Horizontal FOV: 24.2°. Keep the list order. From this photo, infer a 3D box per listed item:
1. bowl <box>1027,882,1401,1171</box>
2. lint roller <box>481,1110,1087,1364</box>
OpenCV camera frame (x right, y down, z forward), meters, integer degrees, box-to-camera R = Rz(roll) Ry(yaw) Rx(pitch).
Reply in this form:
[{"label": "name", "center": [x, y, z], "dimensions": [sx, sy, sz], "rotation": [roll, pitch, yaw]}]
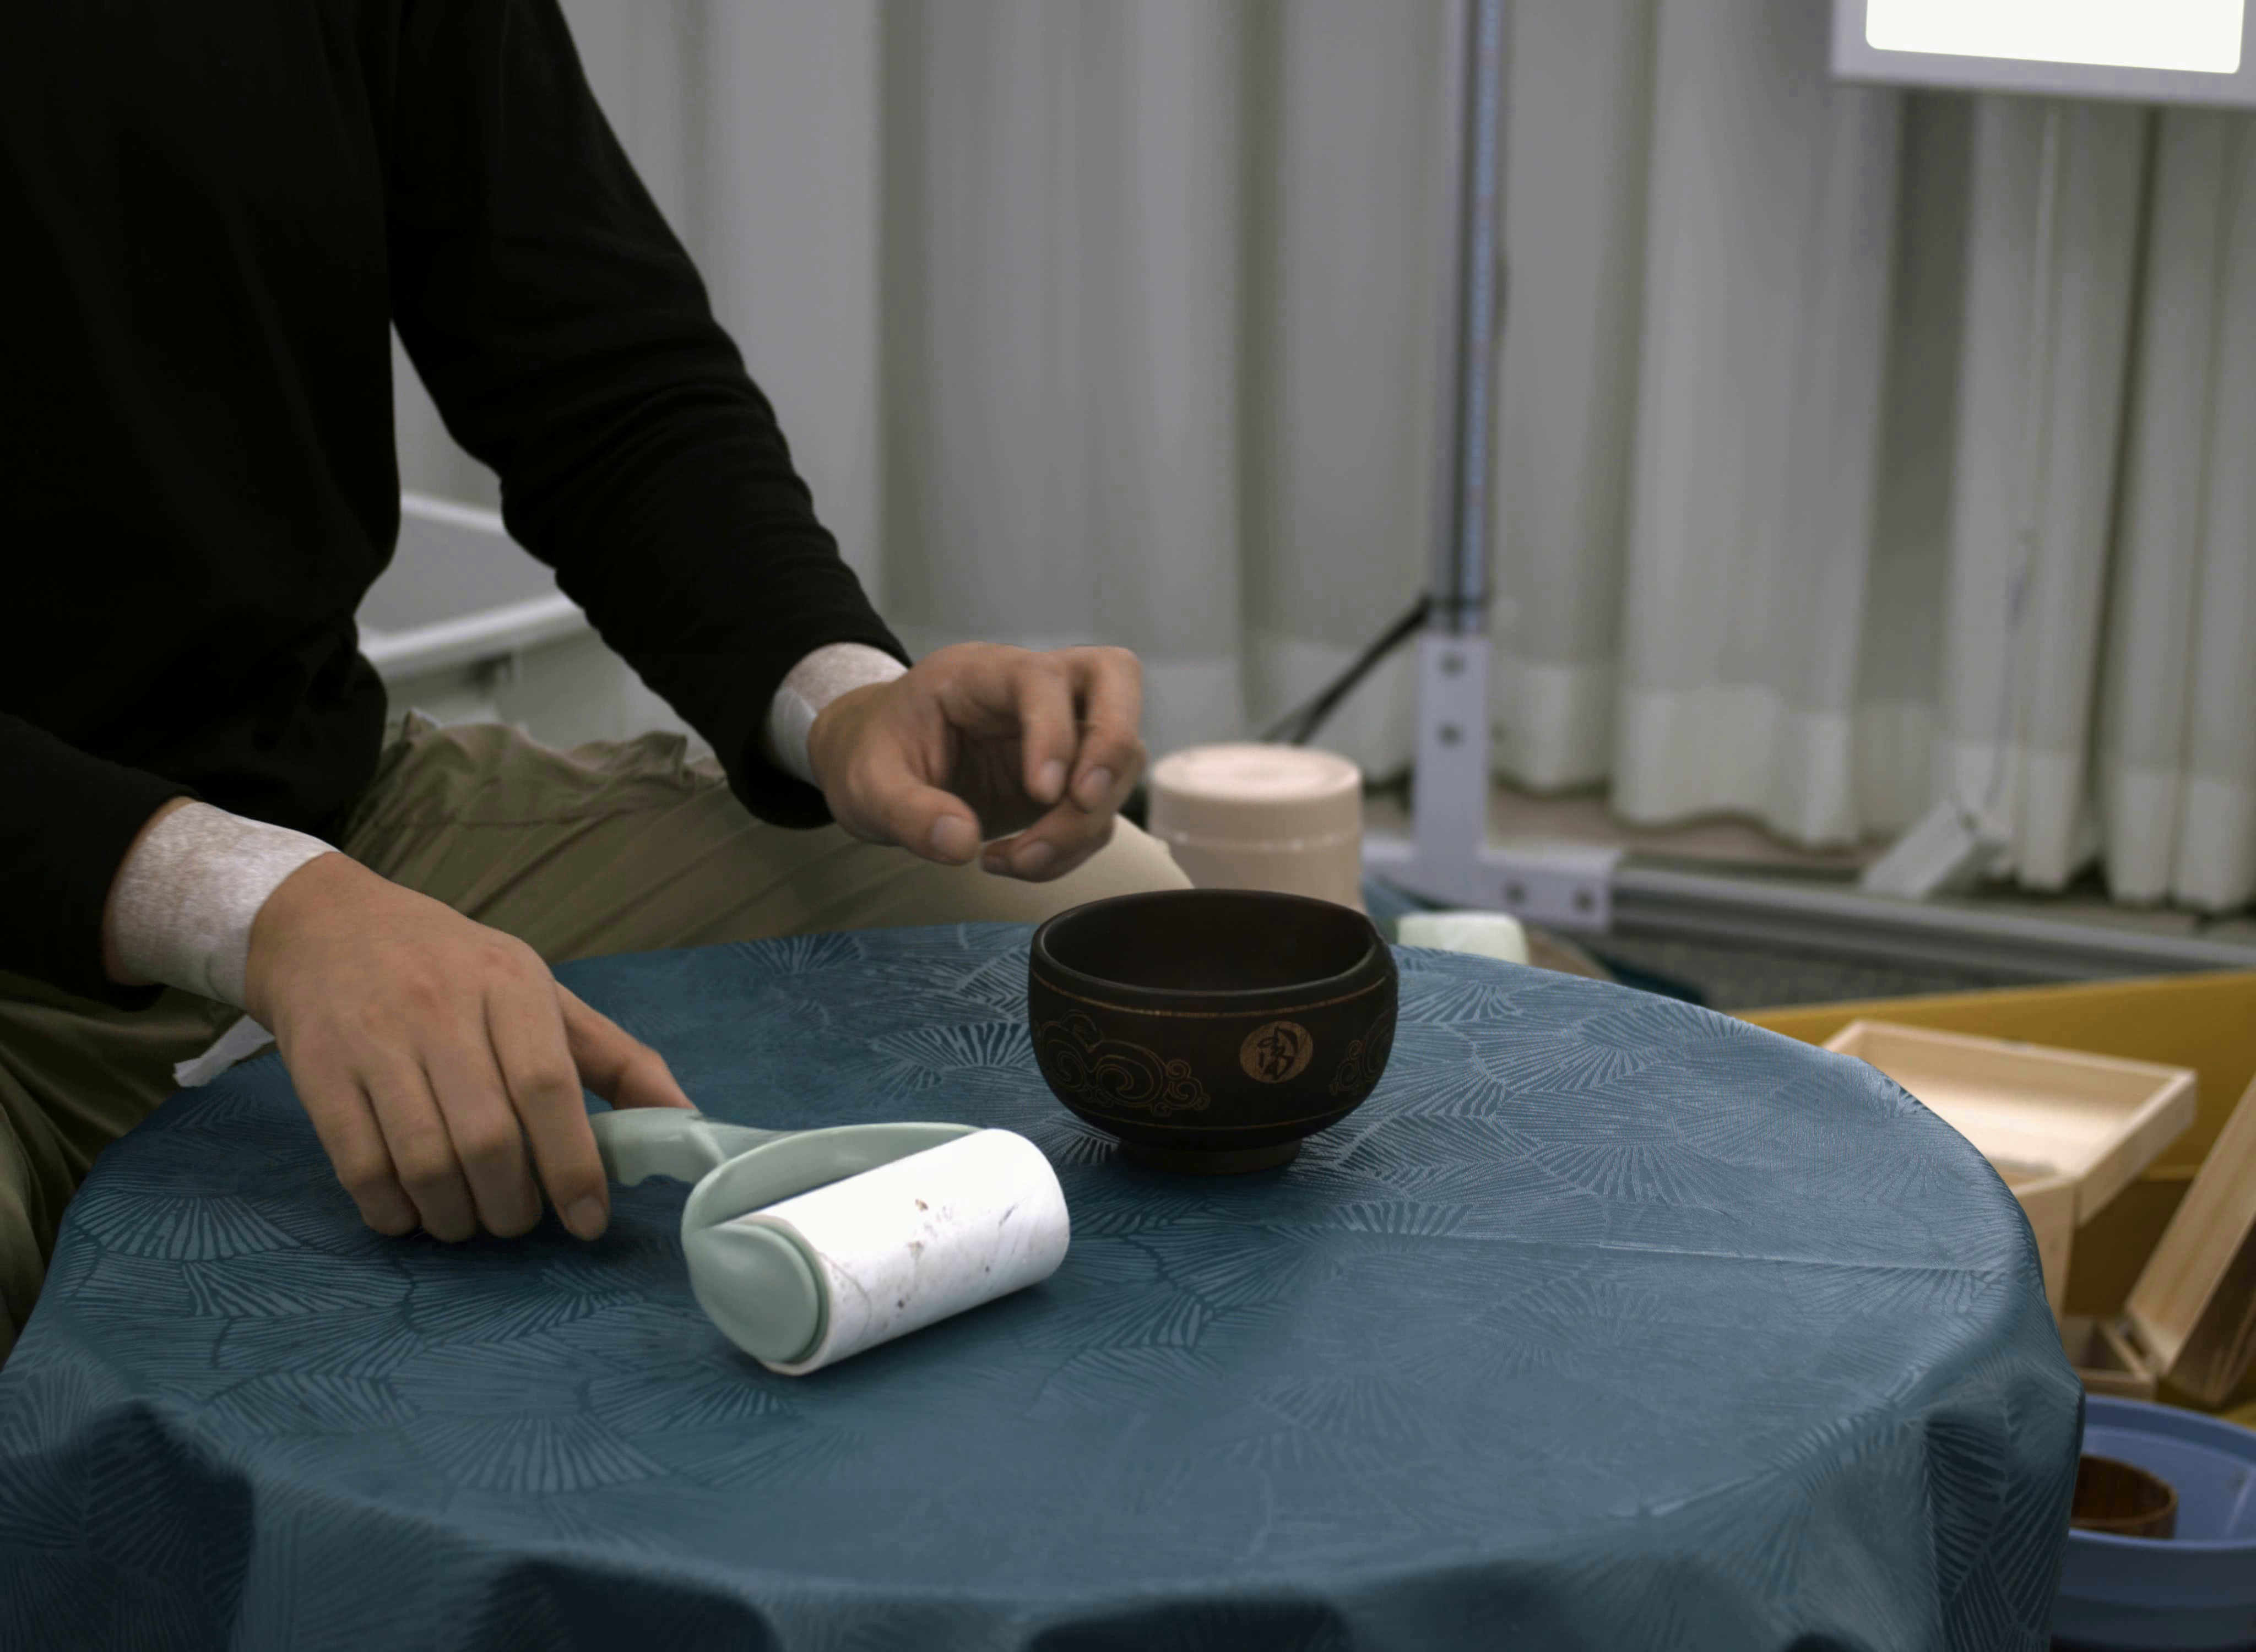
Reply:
[{"label": "bowl", "center": [0.027, 0.066, 1.652], "dimensions": [0.117, 0.070, 0.117], "rotation": [-1, 16, 1]}, {"label": "lint roller", "center": [-0.116, 0.108, 1.550], "dimensions": [0.195, 0.049, 0.117], "rotation": [11, 20, 38]}]
